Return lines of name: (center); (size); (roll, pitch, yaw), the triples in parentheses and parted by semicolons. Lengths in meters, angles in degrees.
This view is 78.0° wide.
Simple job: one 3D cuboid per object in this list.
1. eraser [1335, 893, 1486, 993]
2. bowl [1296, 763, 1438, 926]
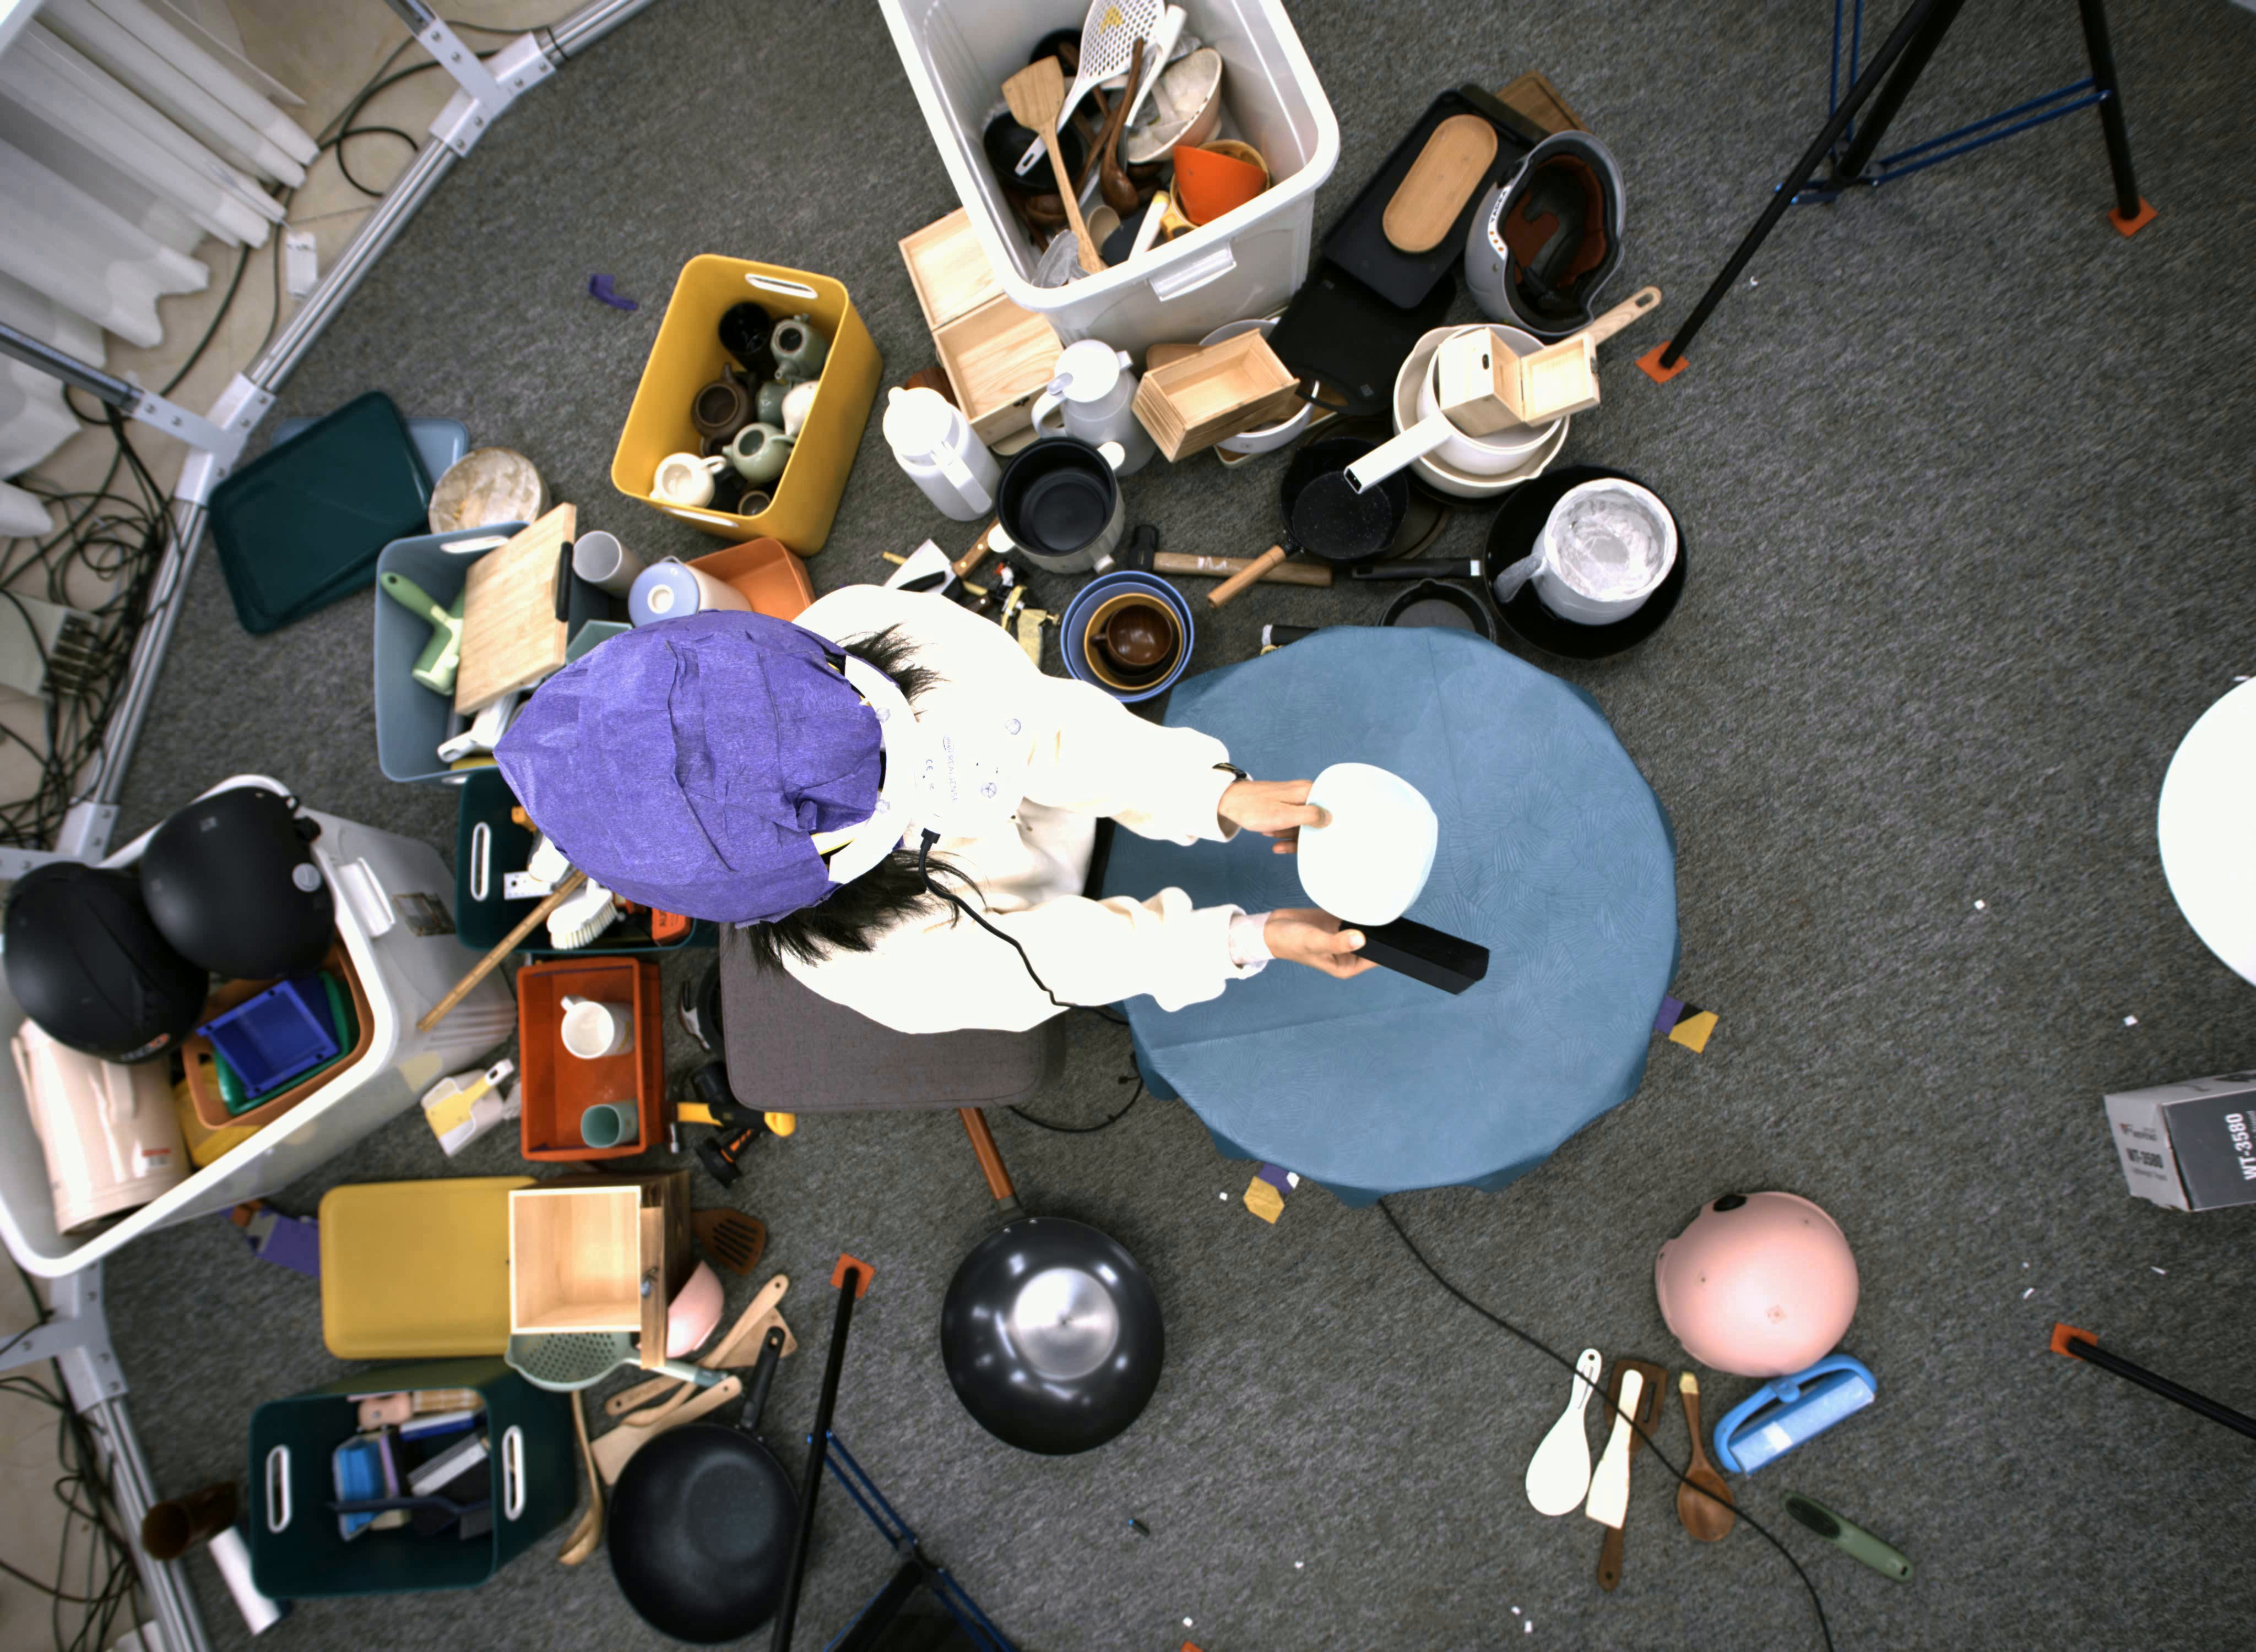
eraser: (0.244, 0.099, 1.195); (0.125, 0.052, 0.031); (26, 129, 38)
bowl: (0.221, 0.015, 1.221); (0.153, 0.058, 0.151); (-2, 88, 49)
